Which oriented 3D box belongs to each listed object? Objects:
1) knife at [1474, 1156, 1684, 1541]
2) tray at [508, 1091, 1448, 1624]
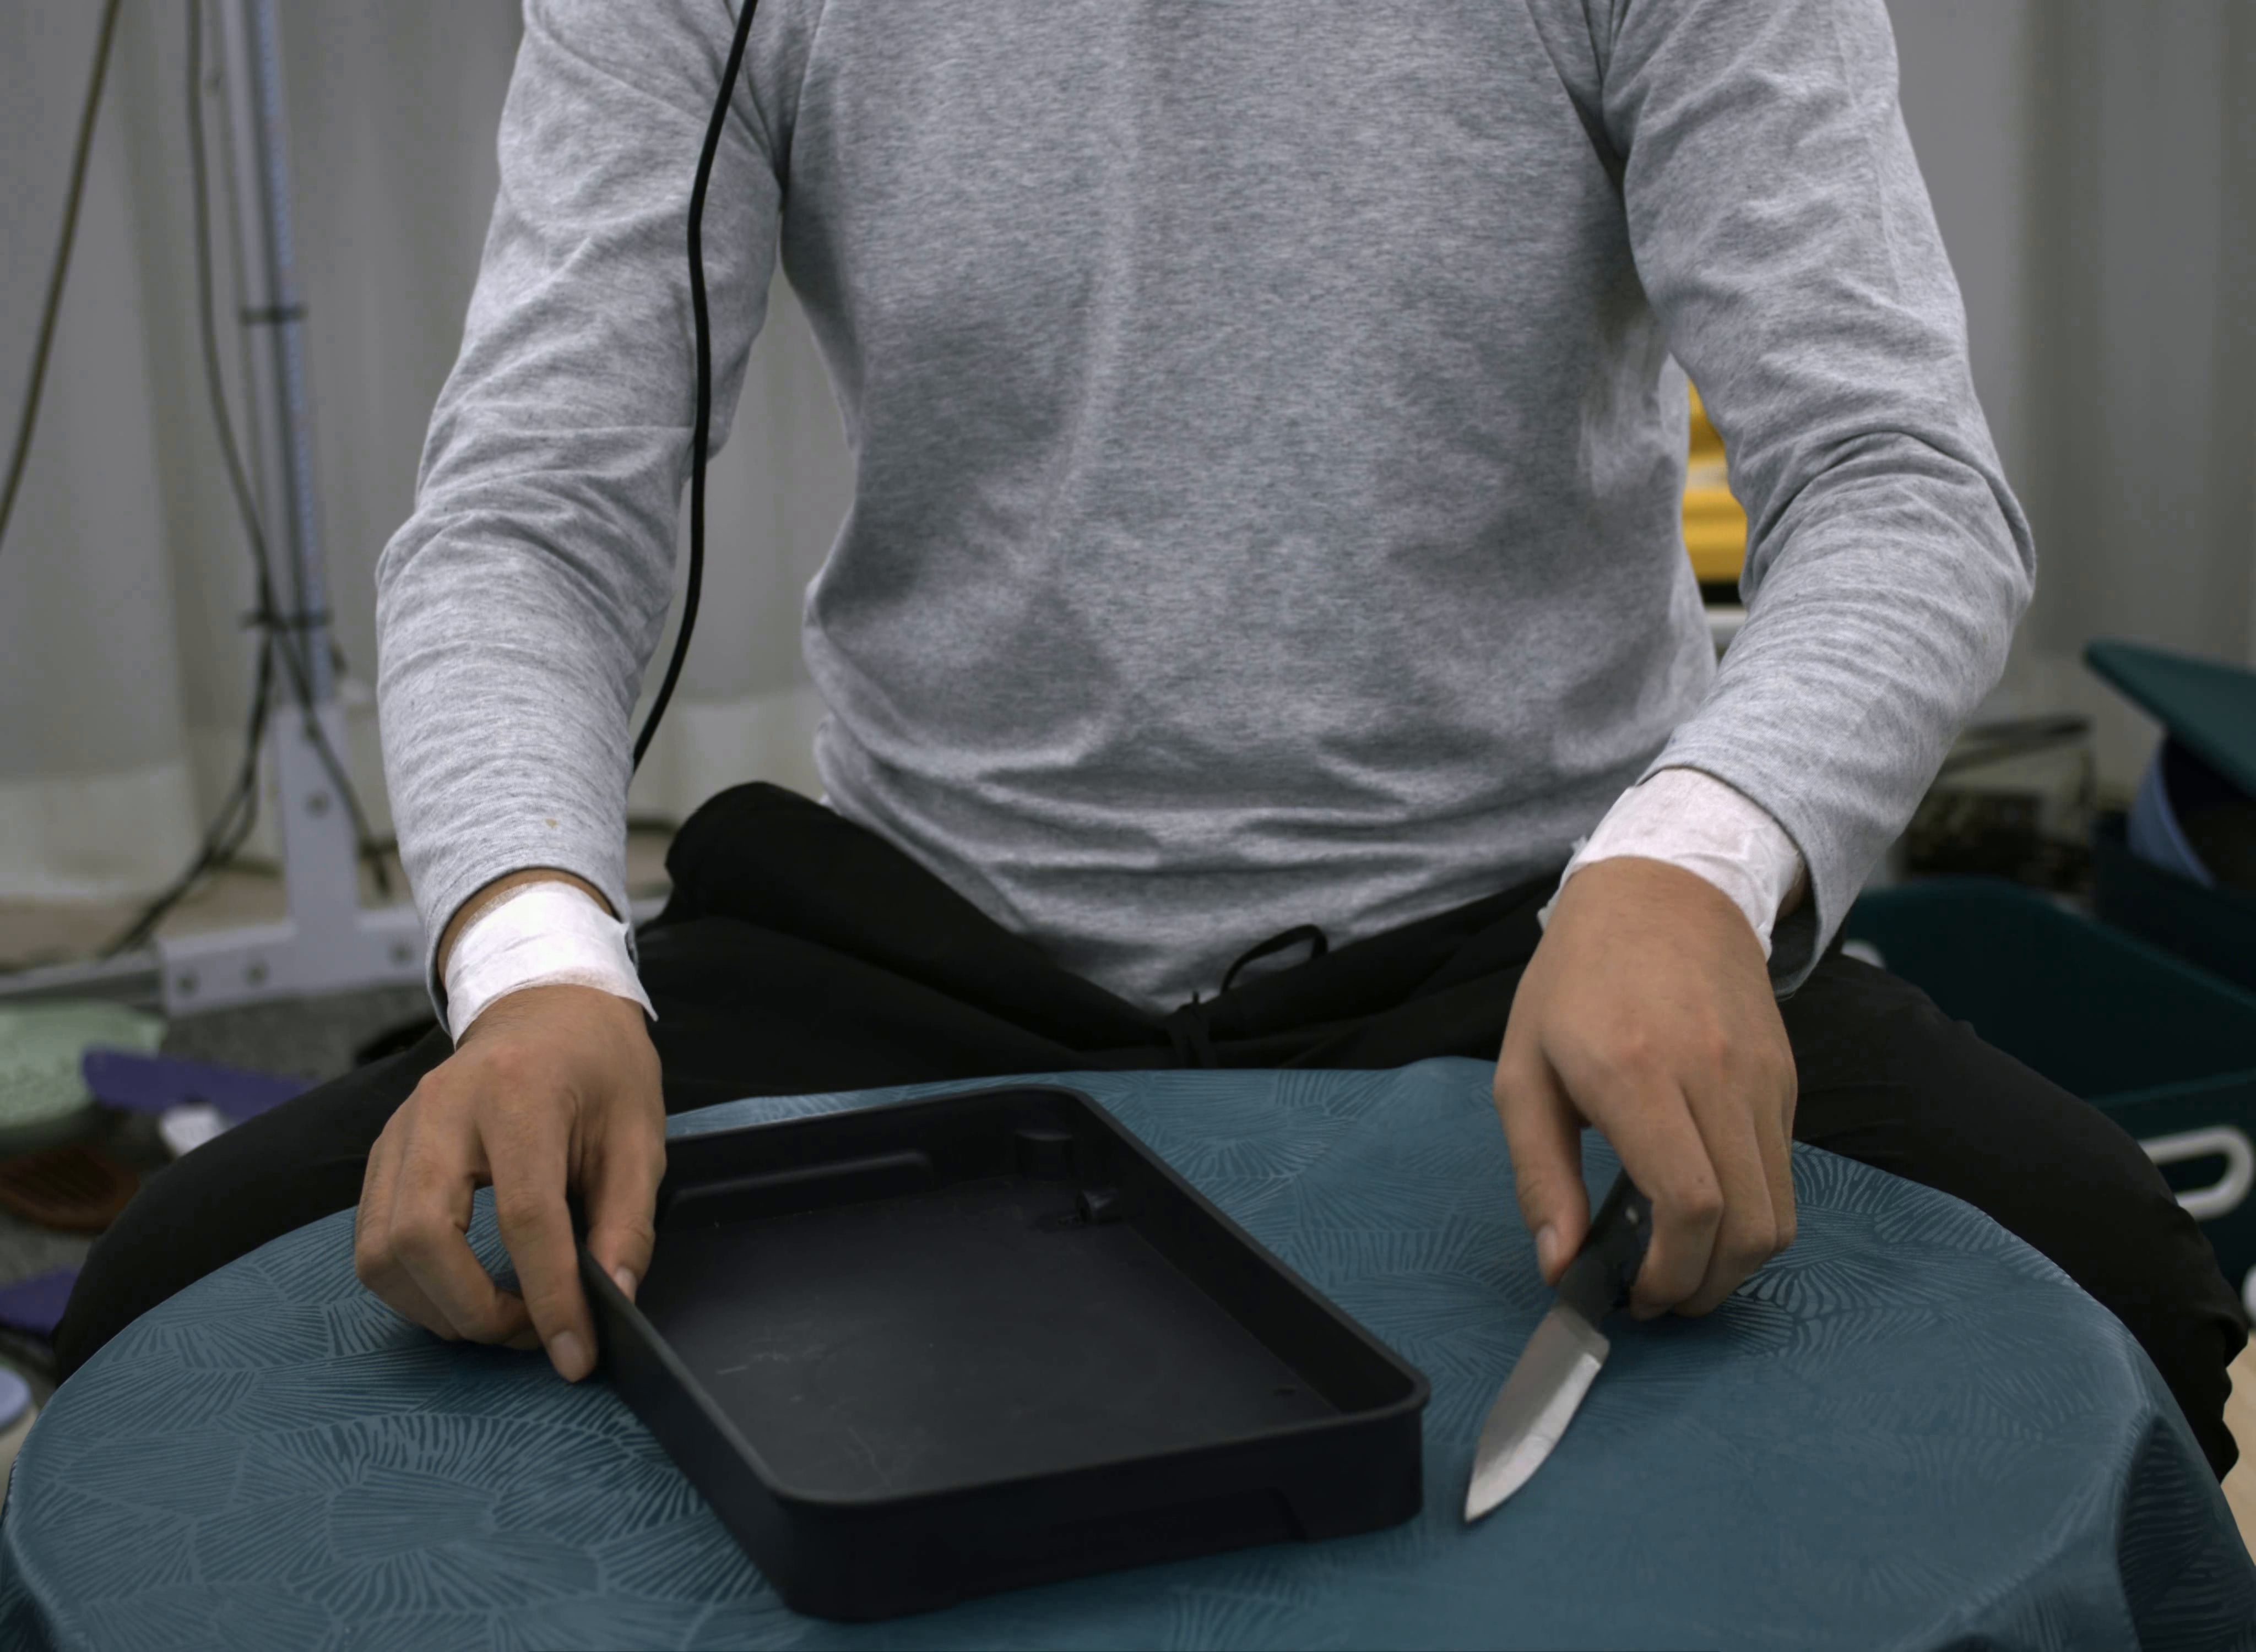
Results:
[{"bbox_3d":[0.124,0.144,1.535,0.024,0.016,0.239,38,26,1],"label":"knife"},{"bbox_3d":[-0.050,0.144,1.548,0.183,0.037,0.320,-8,15,-20],"label":"tray"}]
